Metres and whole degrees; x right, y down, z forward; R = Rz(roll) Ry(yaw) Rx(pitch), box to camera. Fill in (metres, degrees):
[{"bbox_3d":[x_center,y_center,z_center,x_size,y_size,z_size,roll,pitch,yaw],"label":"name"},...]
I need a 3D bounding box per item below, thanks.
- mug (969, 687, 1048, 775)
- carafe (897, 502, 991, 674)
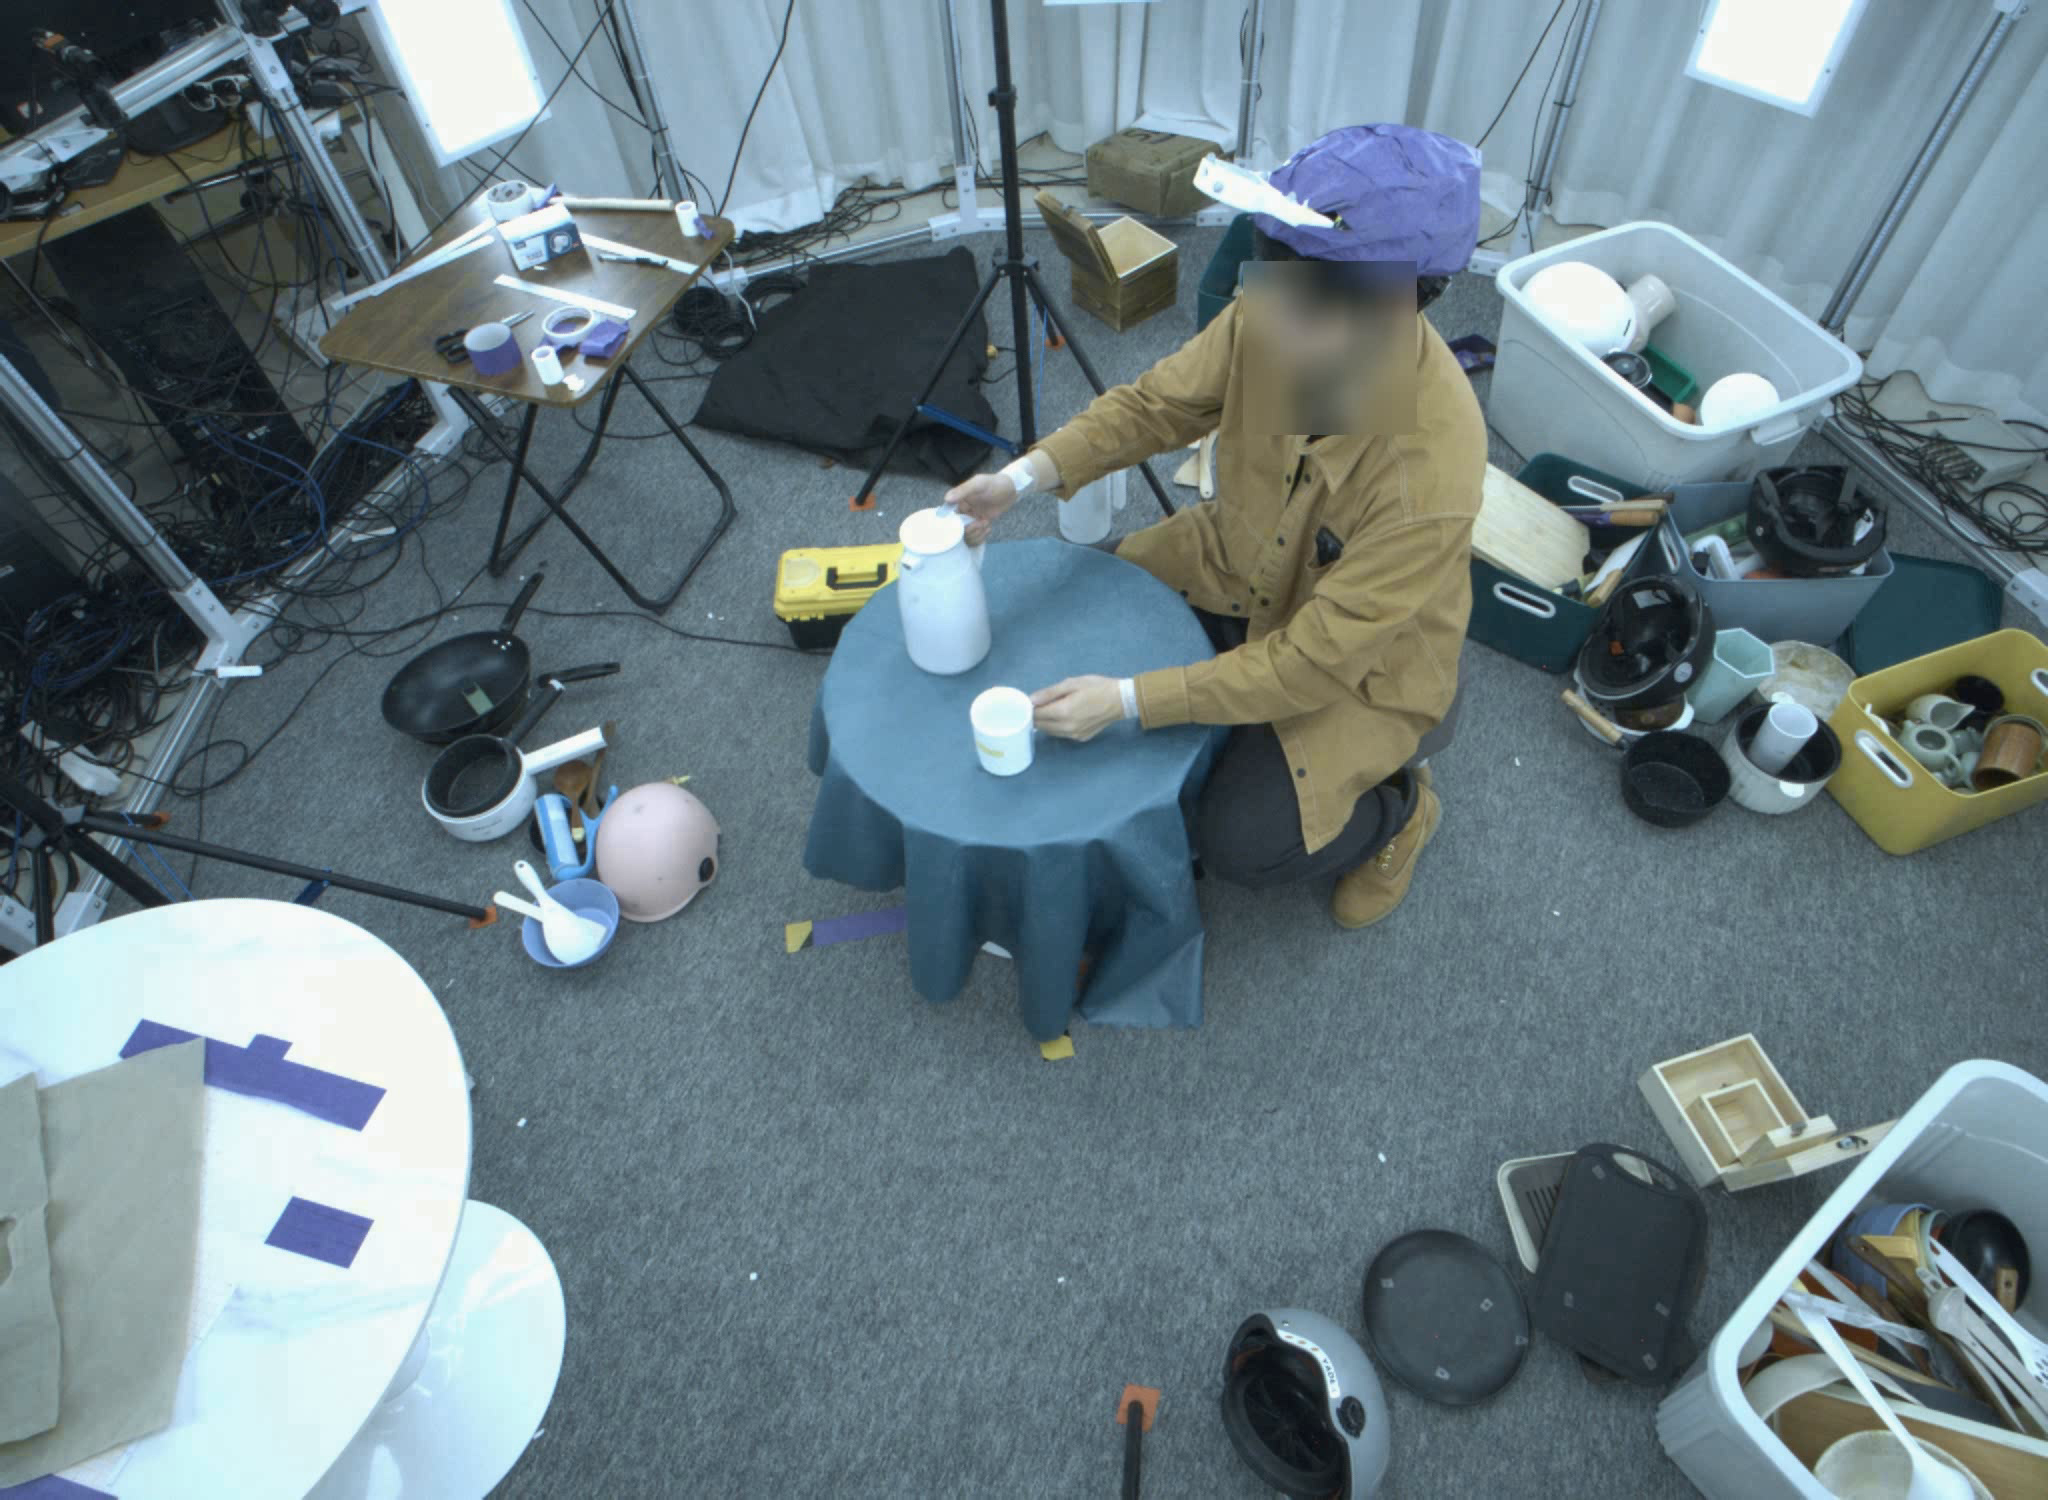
[{"bbox_3d":[-0.017,-0.033,1.741,0.119,0.103,0.083,-33,58,-18],"label":"mug"},{"bbox_3d":[-0.116,-0.254,1.815,0.130,0.251,0.168,25,59,21],"label":"carafe"}]
